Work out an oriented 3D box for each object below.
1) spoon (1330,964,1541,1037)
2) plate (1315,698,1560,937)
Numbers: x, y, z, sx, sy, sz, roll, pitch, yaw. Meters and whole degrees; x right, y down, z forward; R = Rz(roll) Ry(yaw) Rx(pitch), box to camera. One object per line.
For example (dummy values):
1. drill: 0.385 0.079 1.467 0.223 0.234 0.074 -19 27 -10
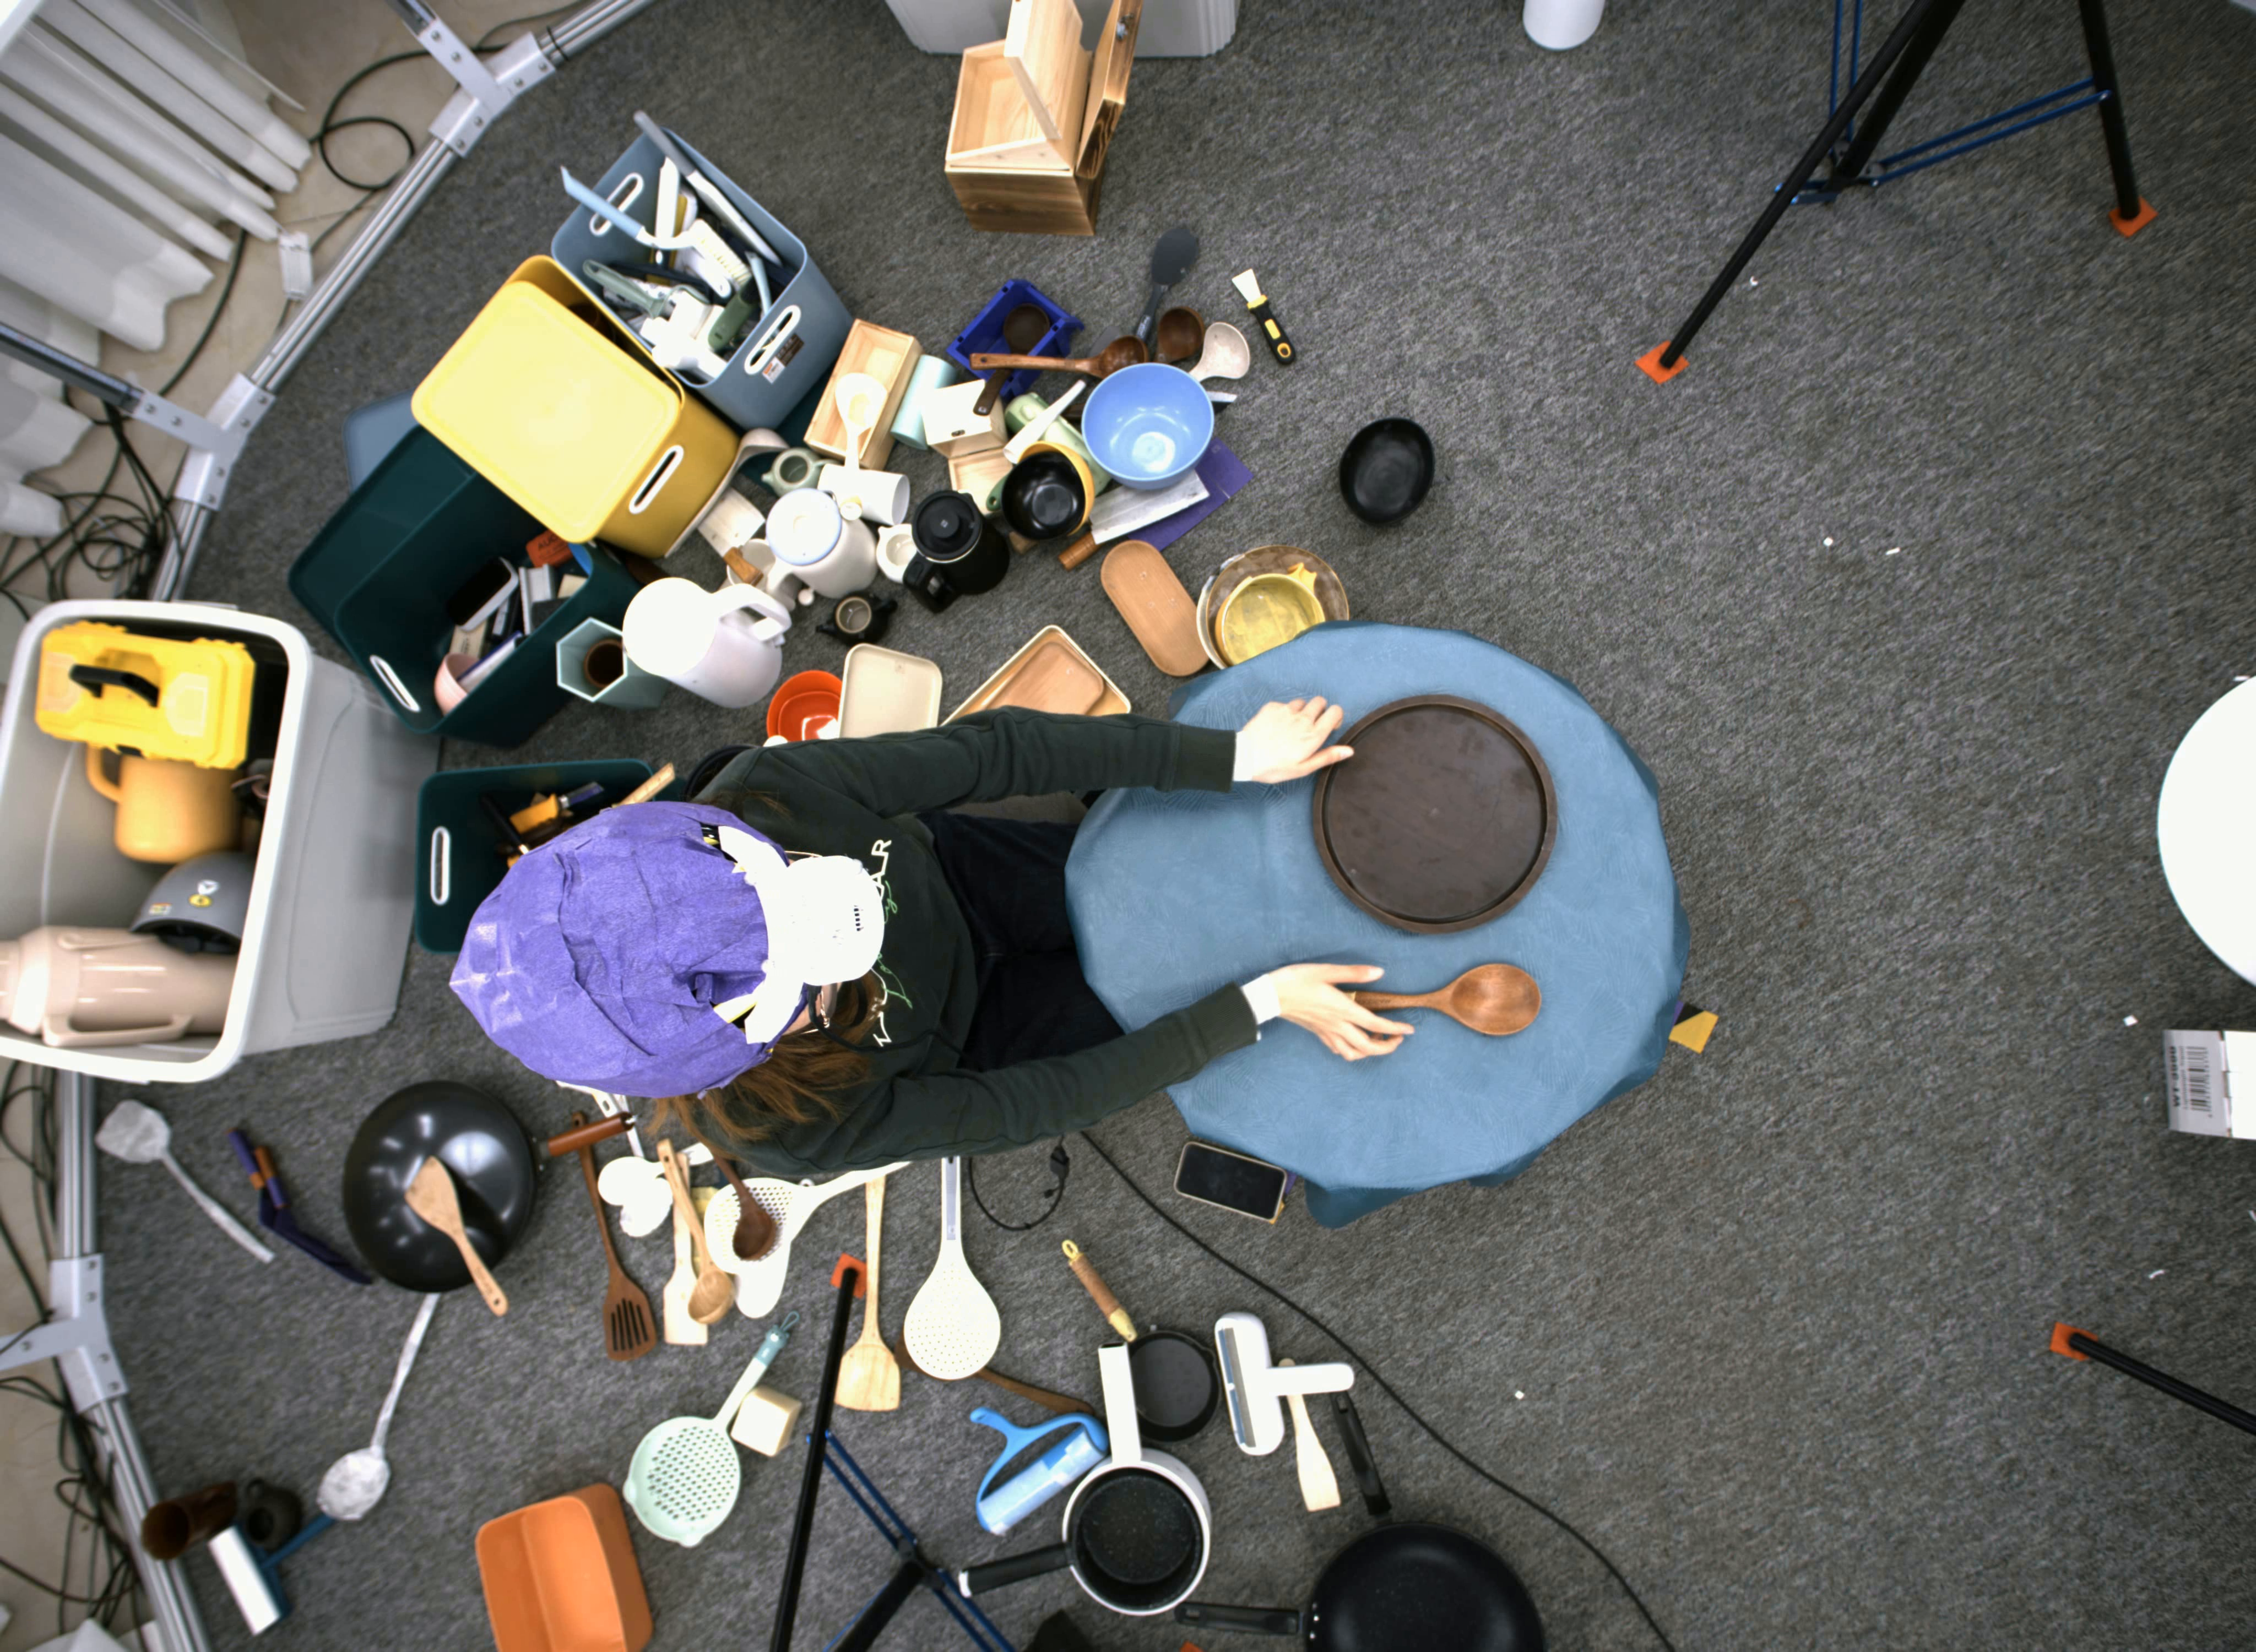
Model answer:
1. spoon: 0.319 0.182 1.439 0.217 0.017 0.075 -3 86 10
2. plate: 0.324 -0.011 1.450 0.256 0.029 0.253 -1 85 9
